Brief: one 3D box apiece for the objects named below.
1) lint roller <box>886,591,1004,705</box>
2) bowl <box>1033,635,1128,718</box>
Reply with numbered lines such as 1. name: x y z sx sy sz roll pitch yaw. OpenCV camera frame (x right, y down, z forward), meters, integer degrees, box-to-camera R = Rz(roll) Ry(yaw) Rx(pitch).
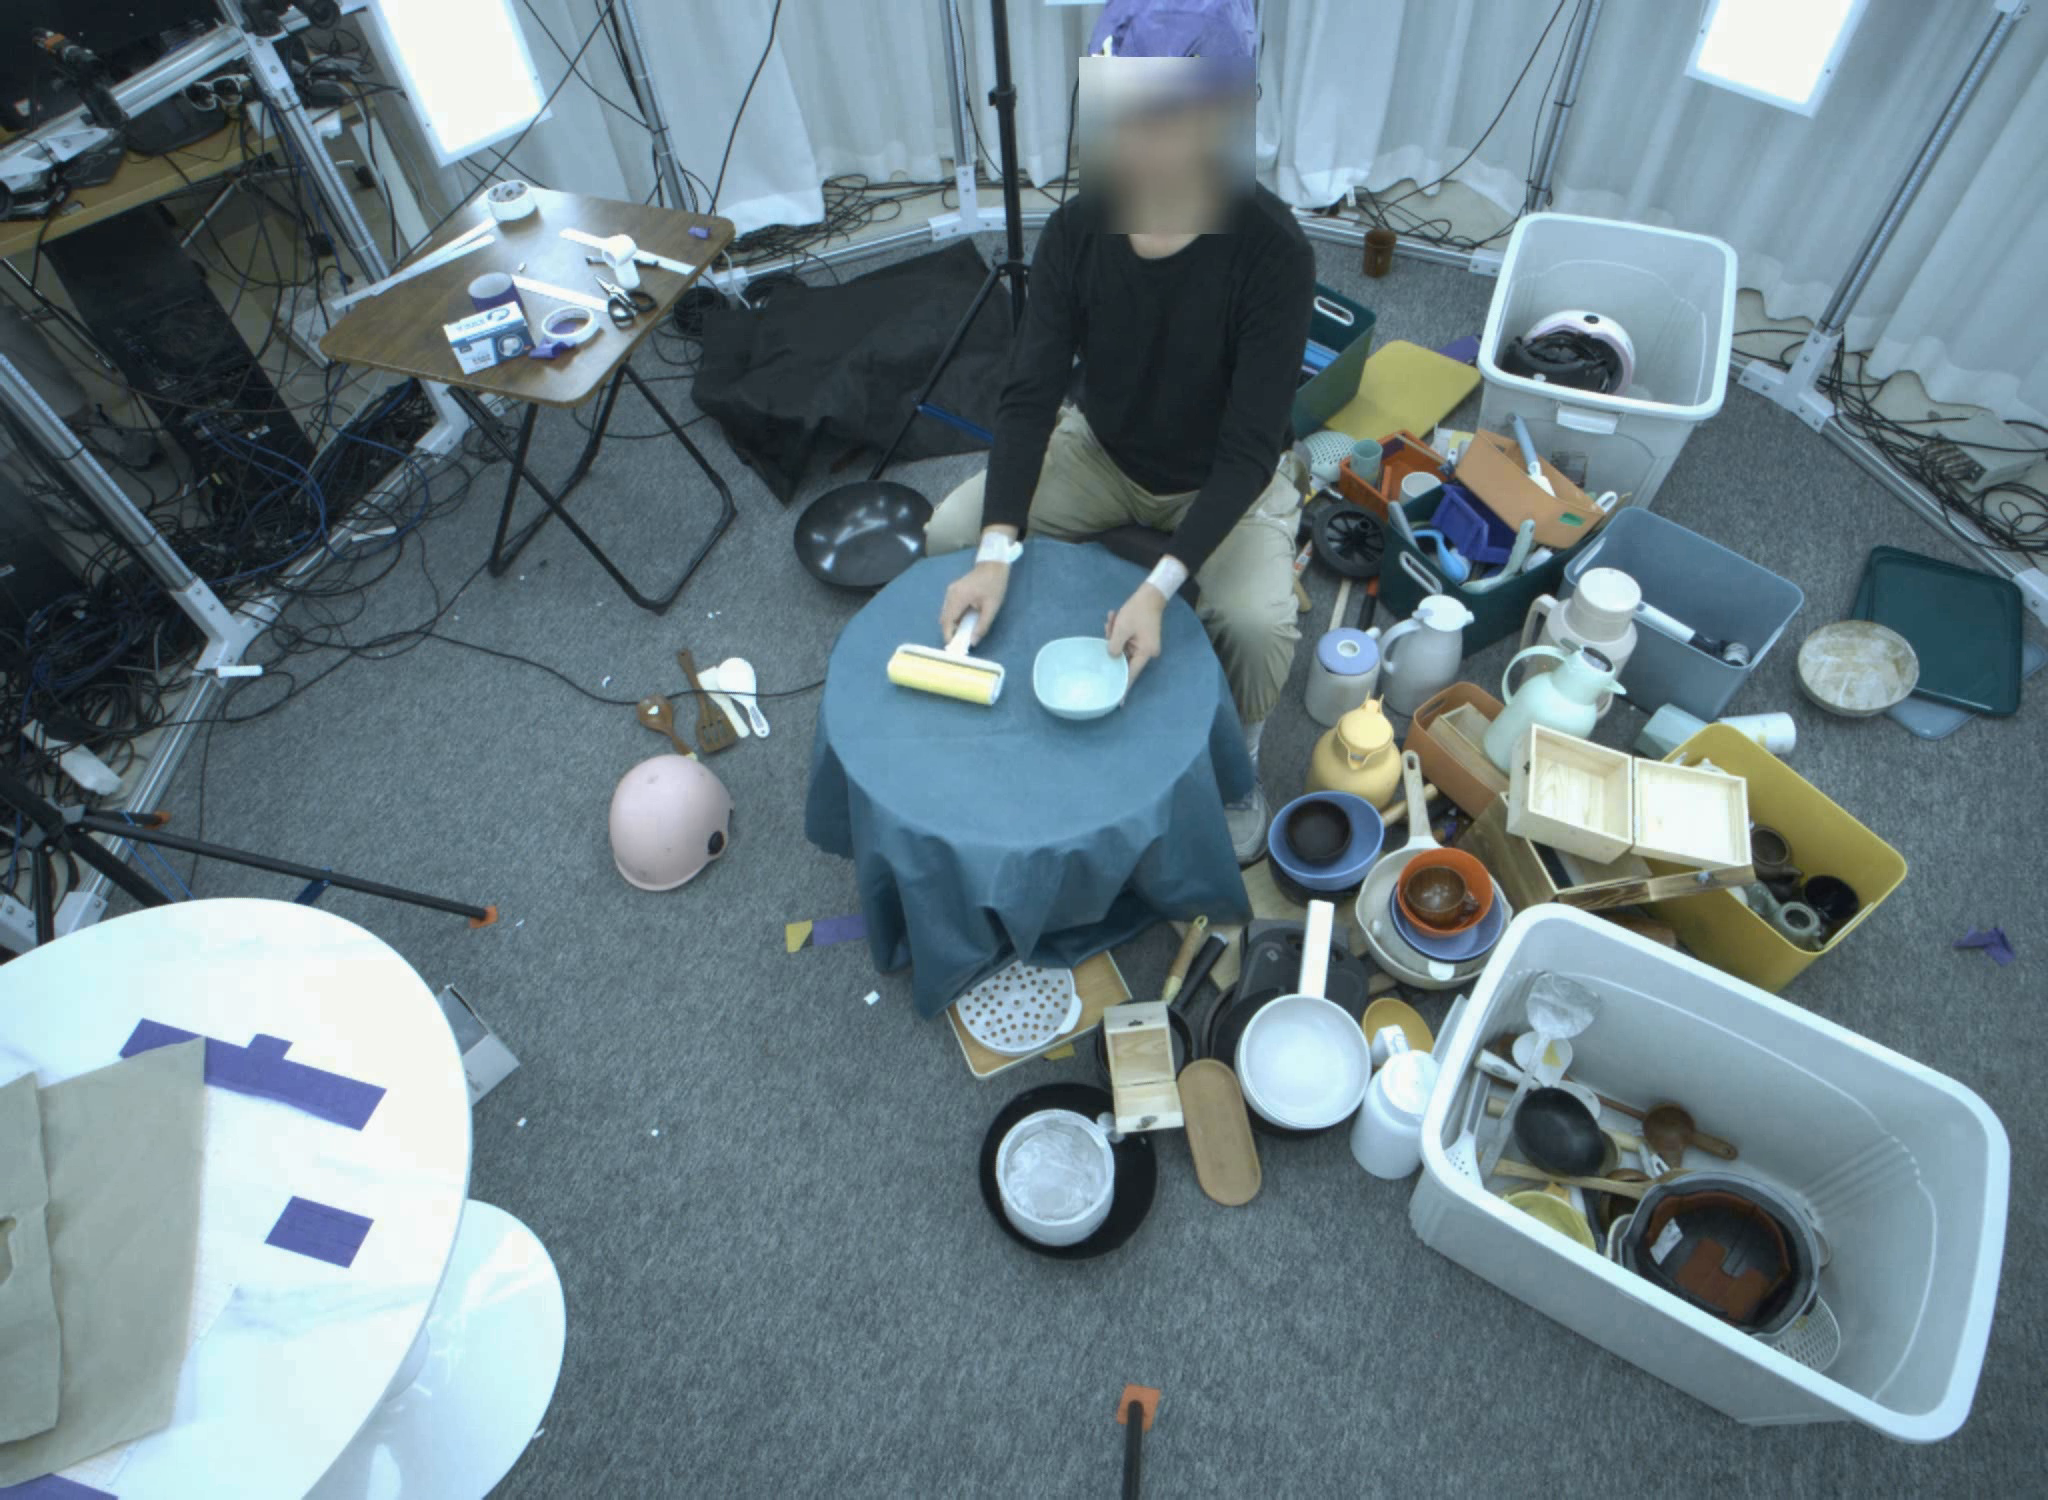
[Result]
1. lint roller: -0.102 -0.170 1.865 0.173 0.052 0.191 13 68 9
2. bowl: 0.084 -0.098 1.819 0.151 0.059 0.150 -1 57 3
